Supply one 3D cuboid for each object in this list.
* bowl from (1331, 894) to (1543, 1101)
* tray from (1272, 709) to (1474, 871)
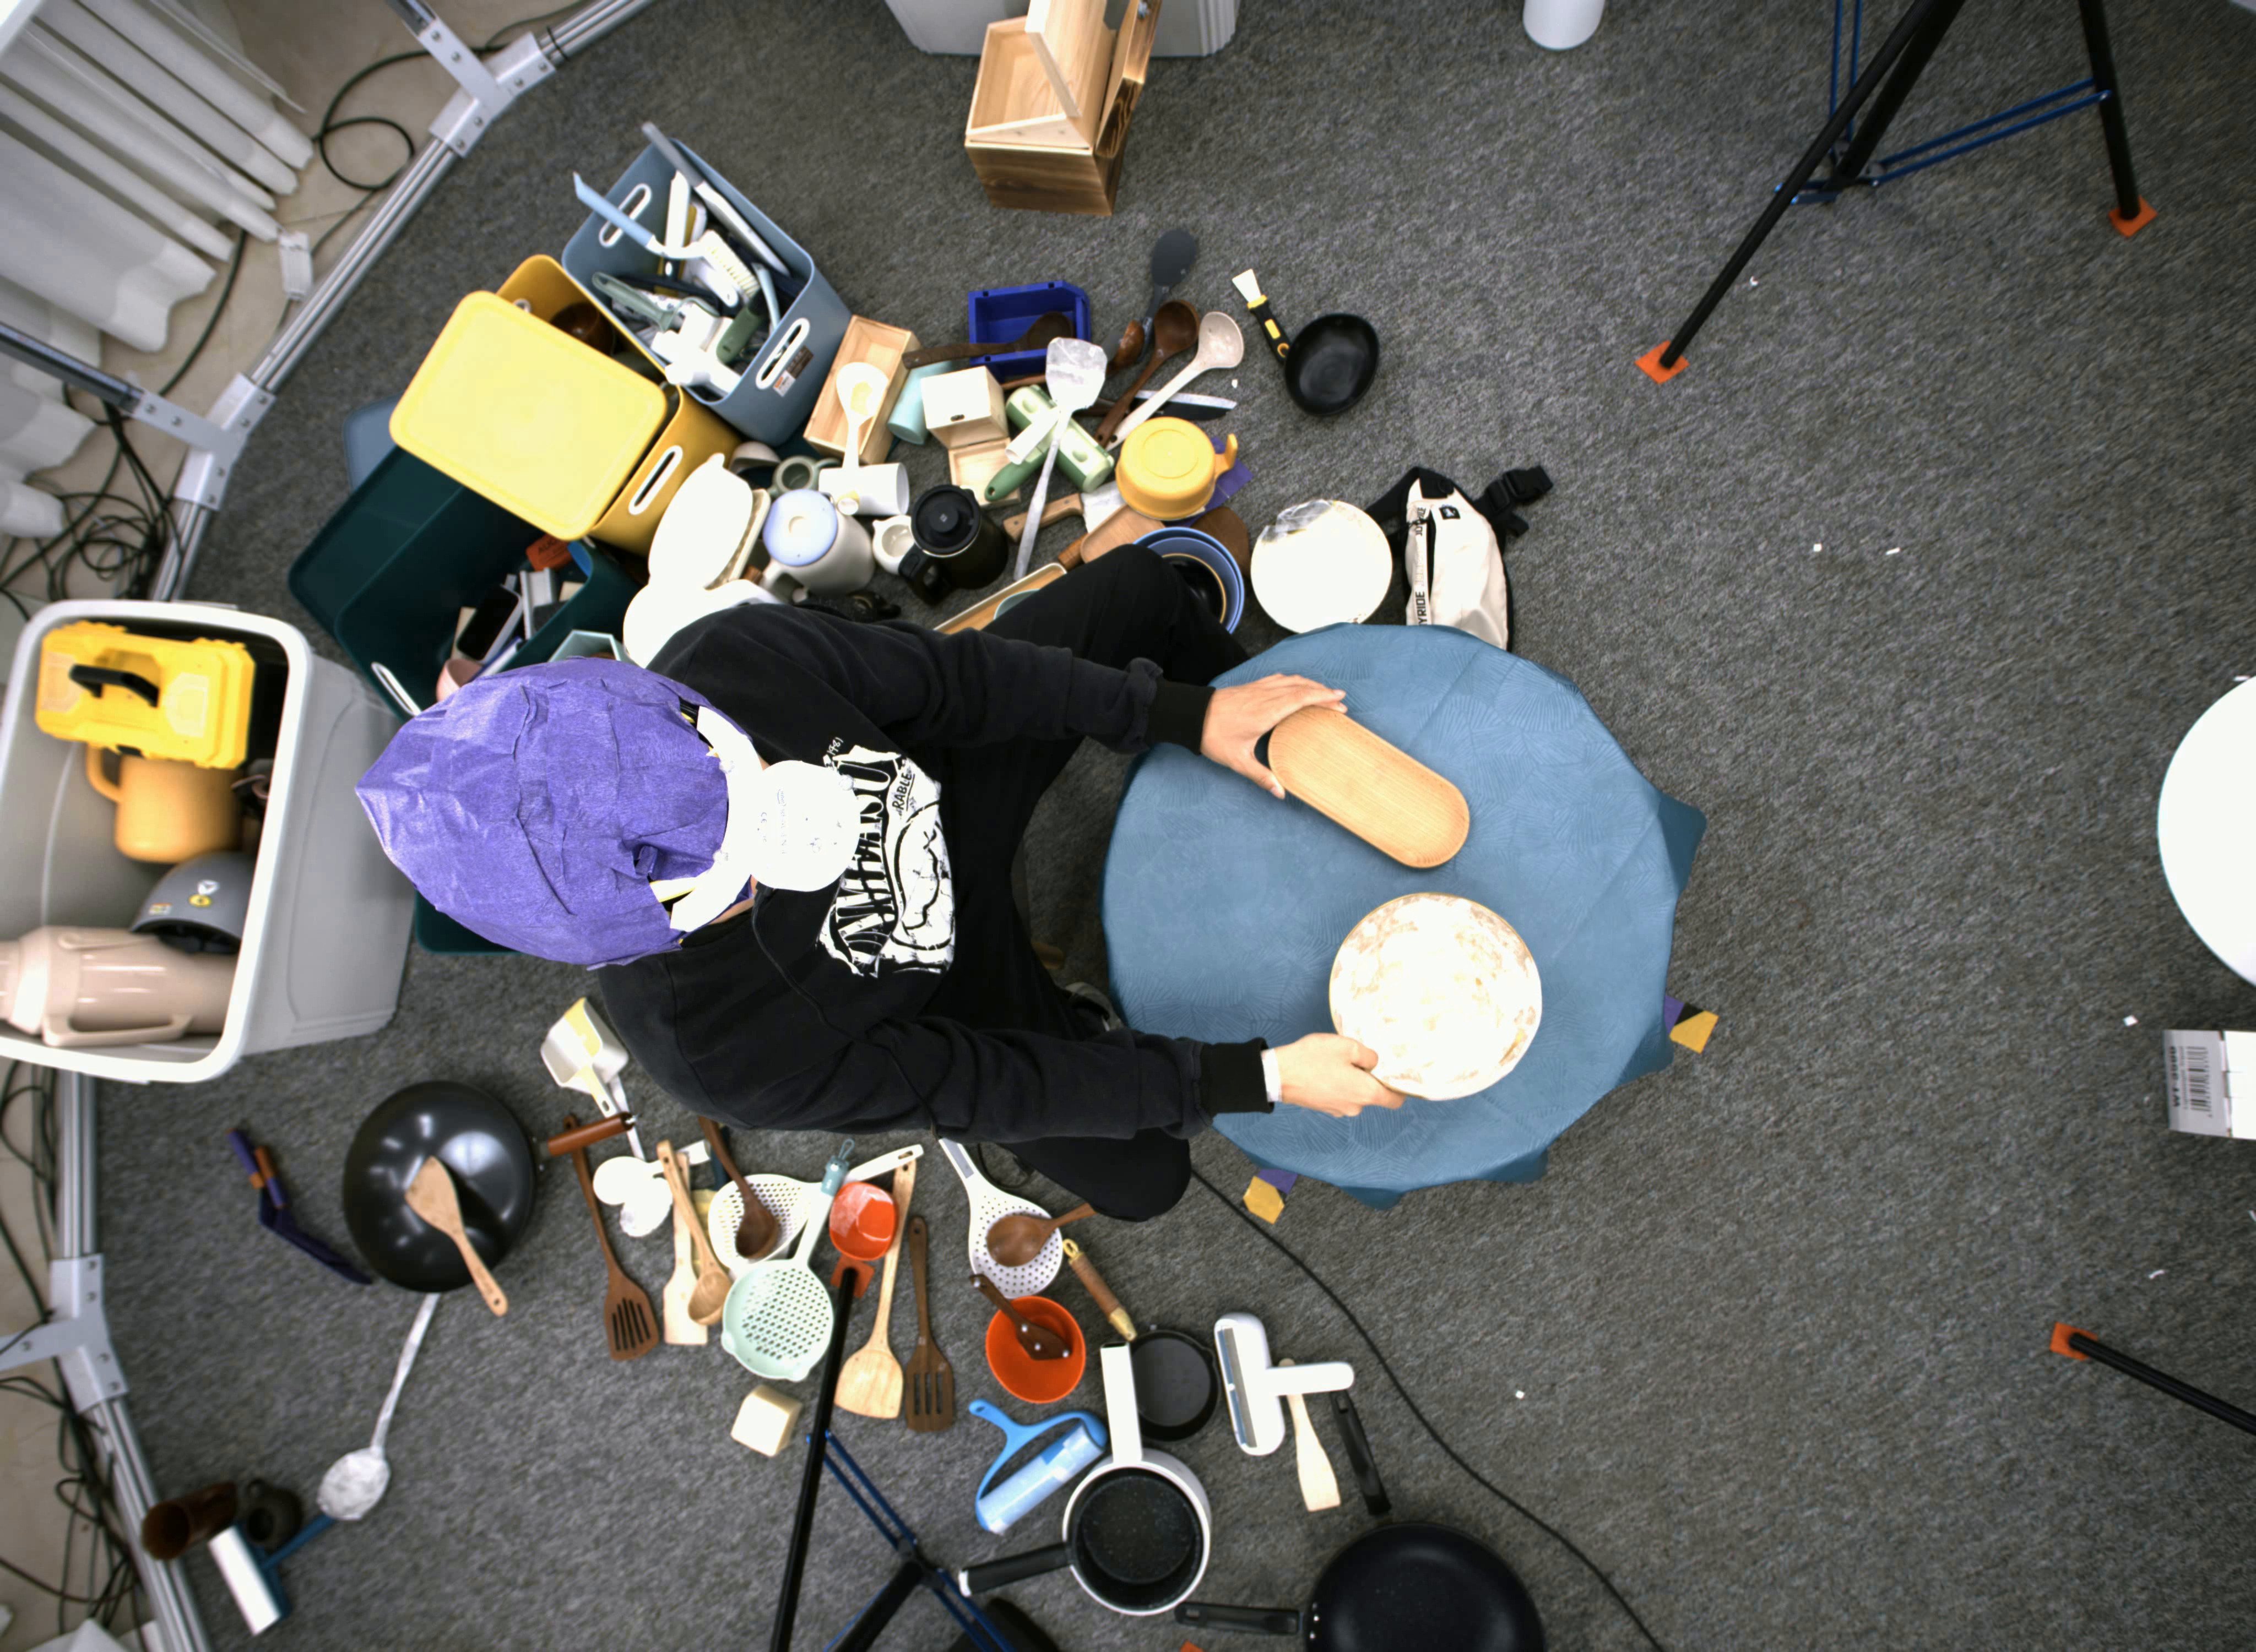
[{"bbox_3d":[0.304,0.171,1.368,0.216,0.095,0.211,-5,72,15],"label":"bowl"},{"bbox_3d":[0.257,-0.039,1.449,0.231,0.020,0.101,32,88,0],"label":"tray"}]
